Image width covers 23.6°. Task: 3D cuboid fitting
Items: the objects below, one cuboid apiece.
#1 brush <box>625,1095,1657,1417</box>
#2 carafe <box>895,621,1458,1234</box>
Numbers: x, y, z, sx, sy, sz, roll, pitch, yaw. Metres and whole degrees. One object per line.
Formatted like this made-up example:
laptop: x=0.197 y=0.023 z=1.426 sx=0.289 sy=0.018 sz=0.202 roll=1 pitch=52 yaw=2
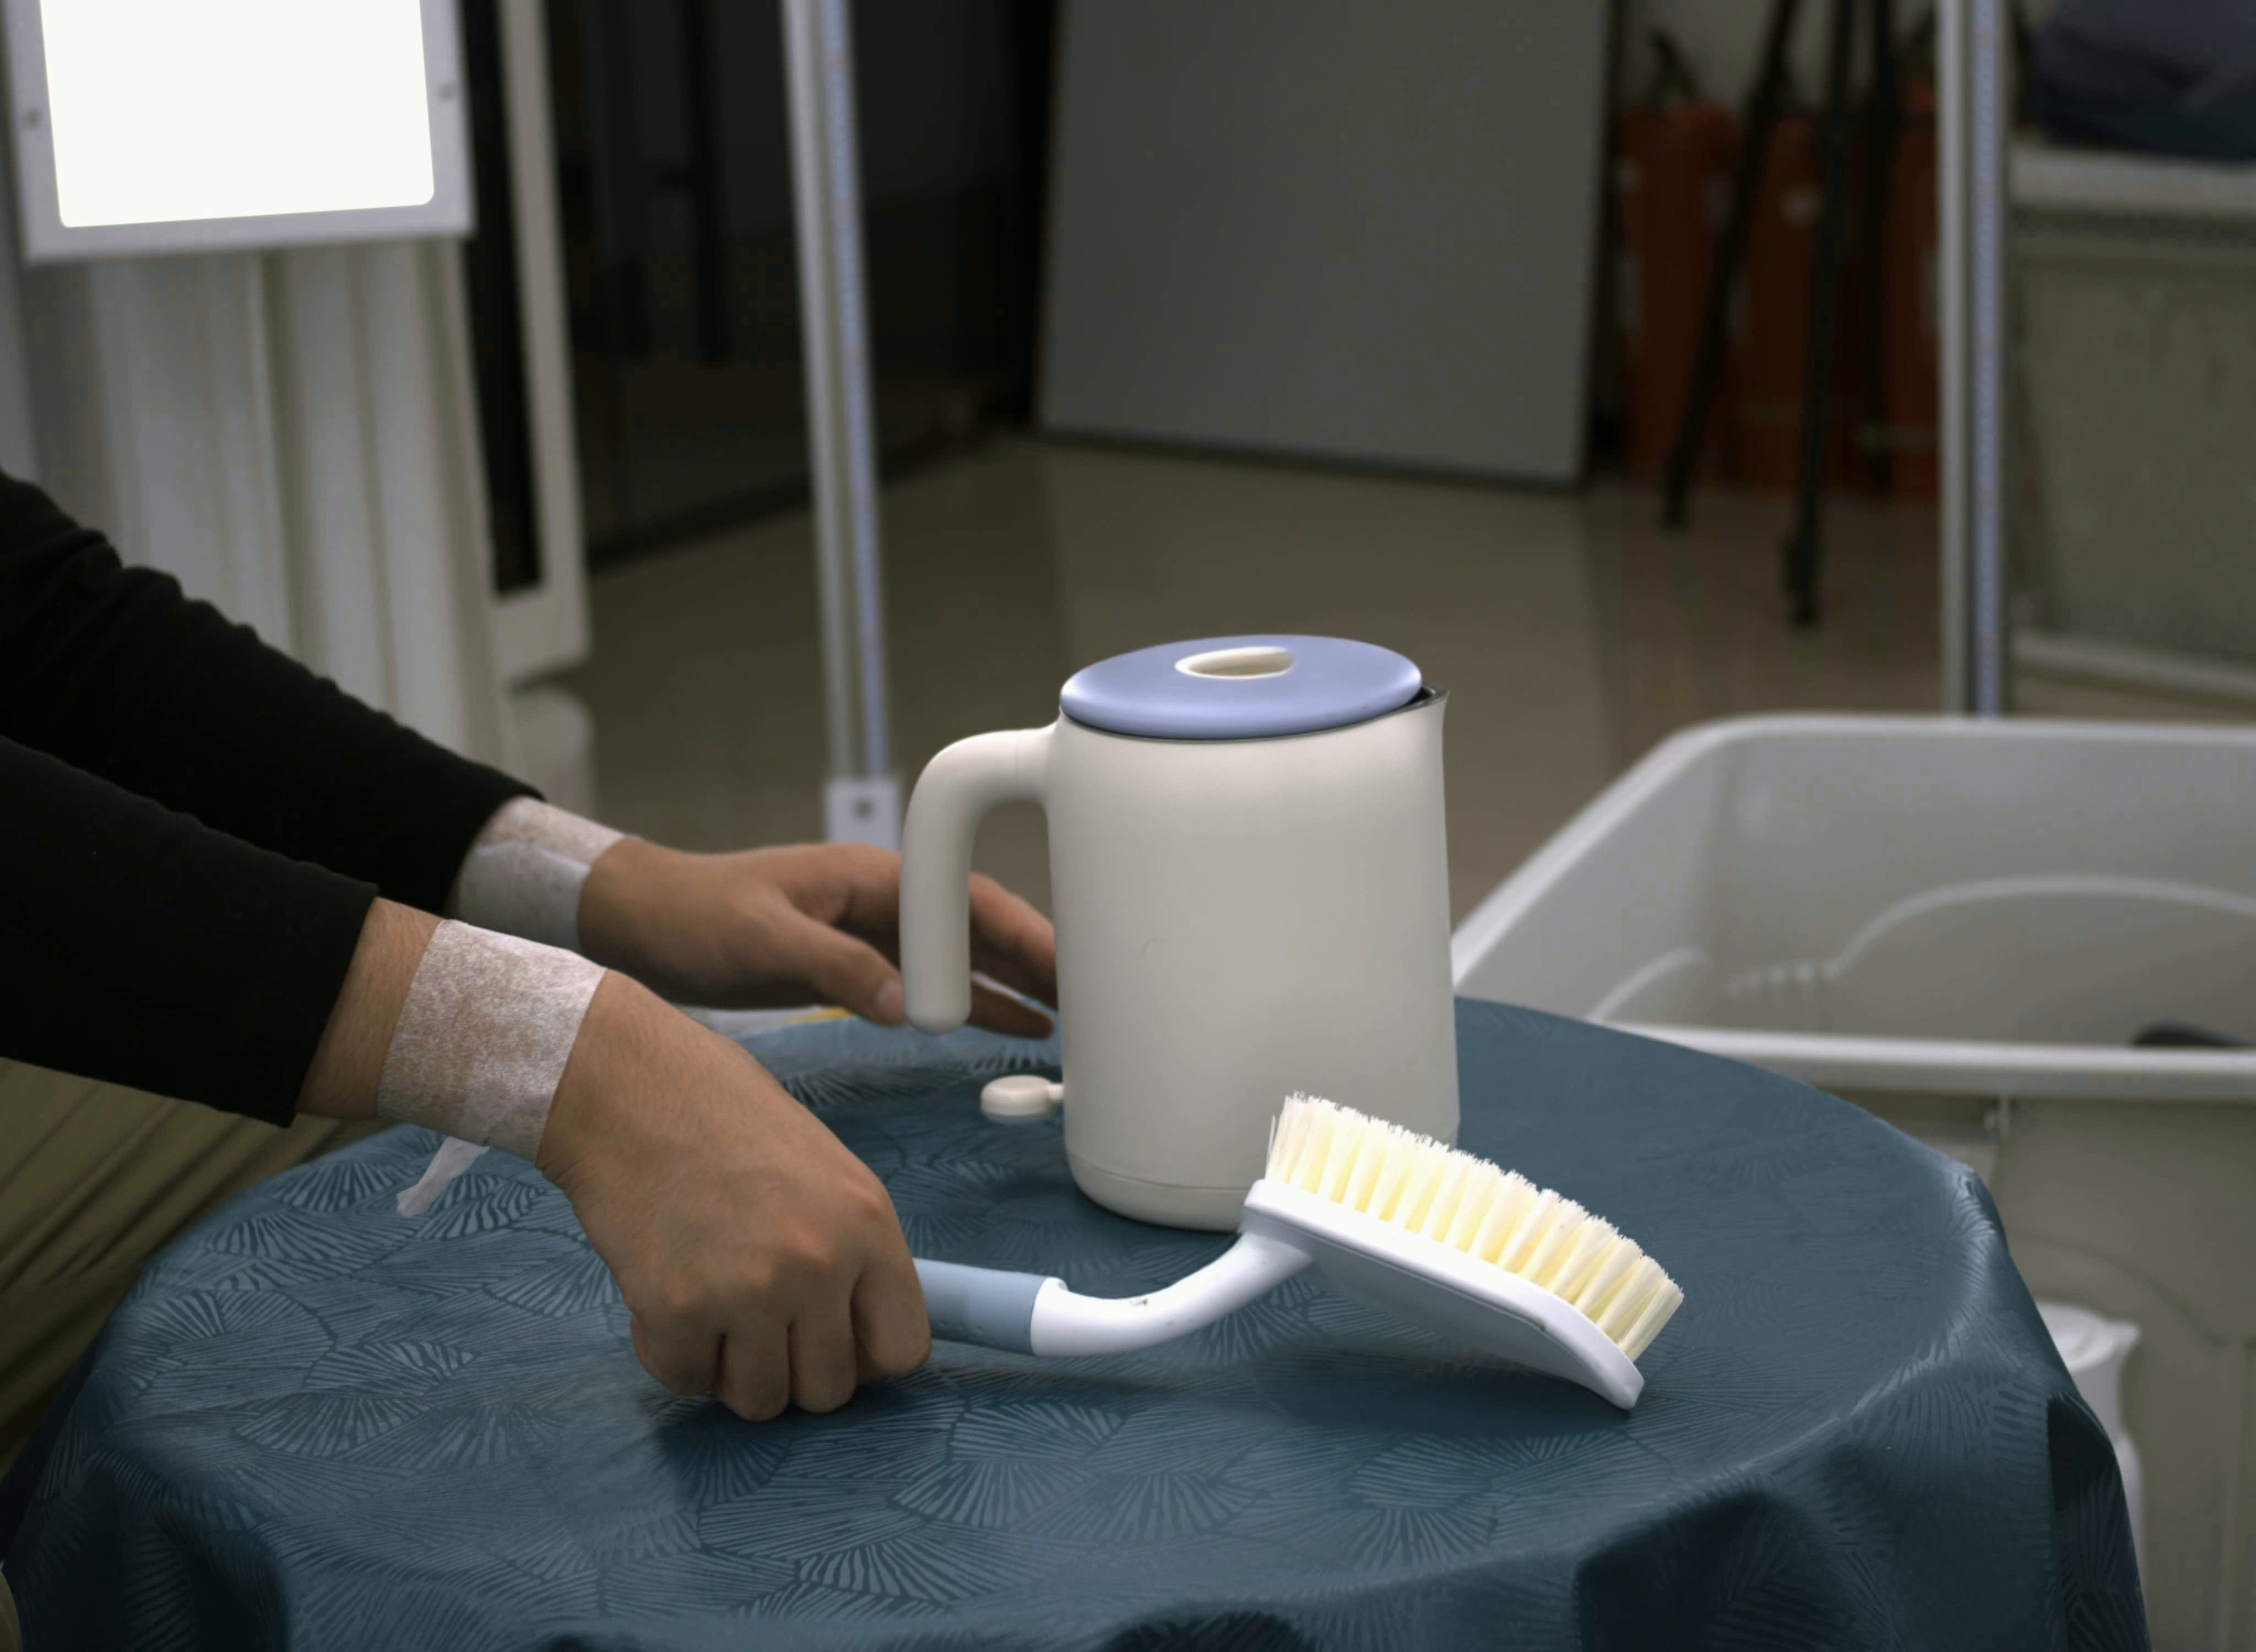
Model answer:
brush: x=0.002 y=0.112 z=1.601 sx=0.325 sy=0.084 sz=0.084 roll=7 pitch=28 yaw=22
carafe: x=0.016 y=0.033 z=1.761 sx=0.190 sy=0.184 sz=0.131 roll=-2 pitch=13 yaw=11
